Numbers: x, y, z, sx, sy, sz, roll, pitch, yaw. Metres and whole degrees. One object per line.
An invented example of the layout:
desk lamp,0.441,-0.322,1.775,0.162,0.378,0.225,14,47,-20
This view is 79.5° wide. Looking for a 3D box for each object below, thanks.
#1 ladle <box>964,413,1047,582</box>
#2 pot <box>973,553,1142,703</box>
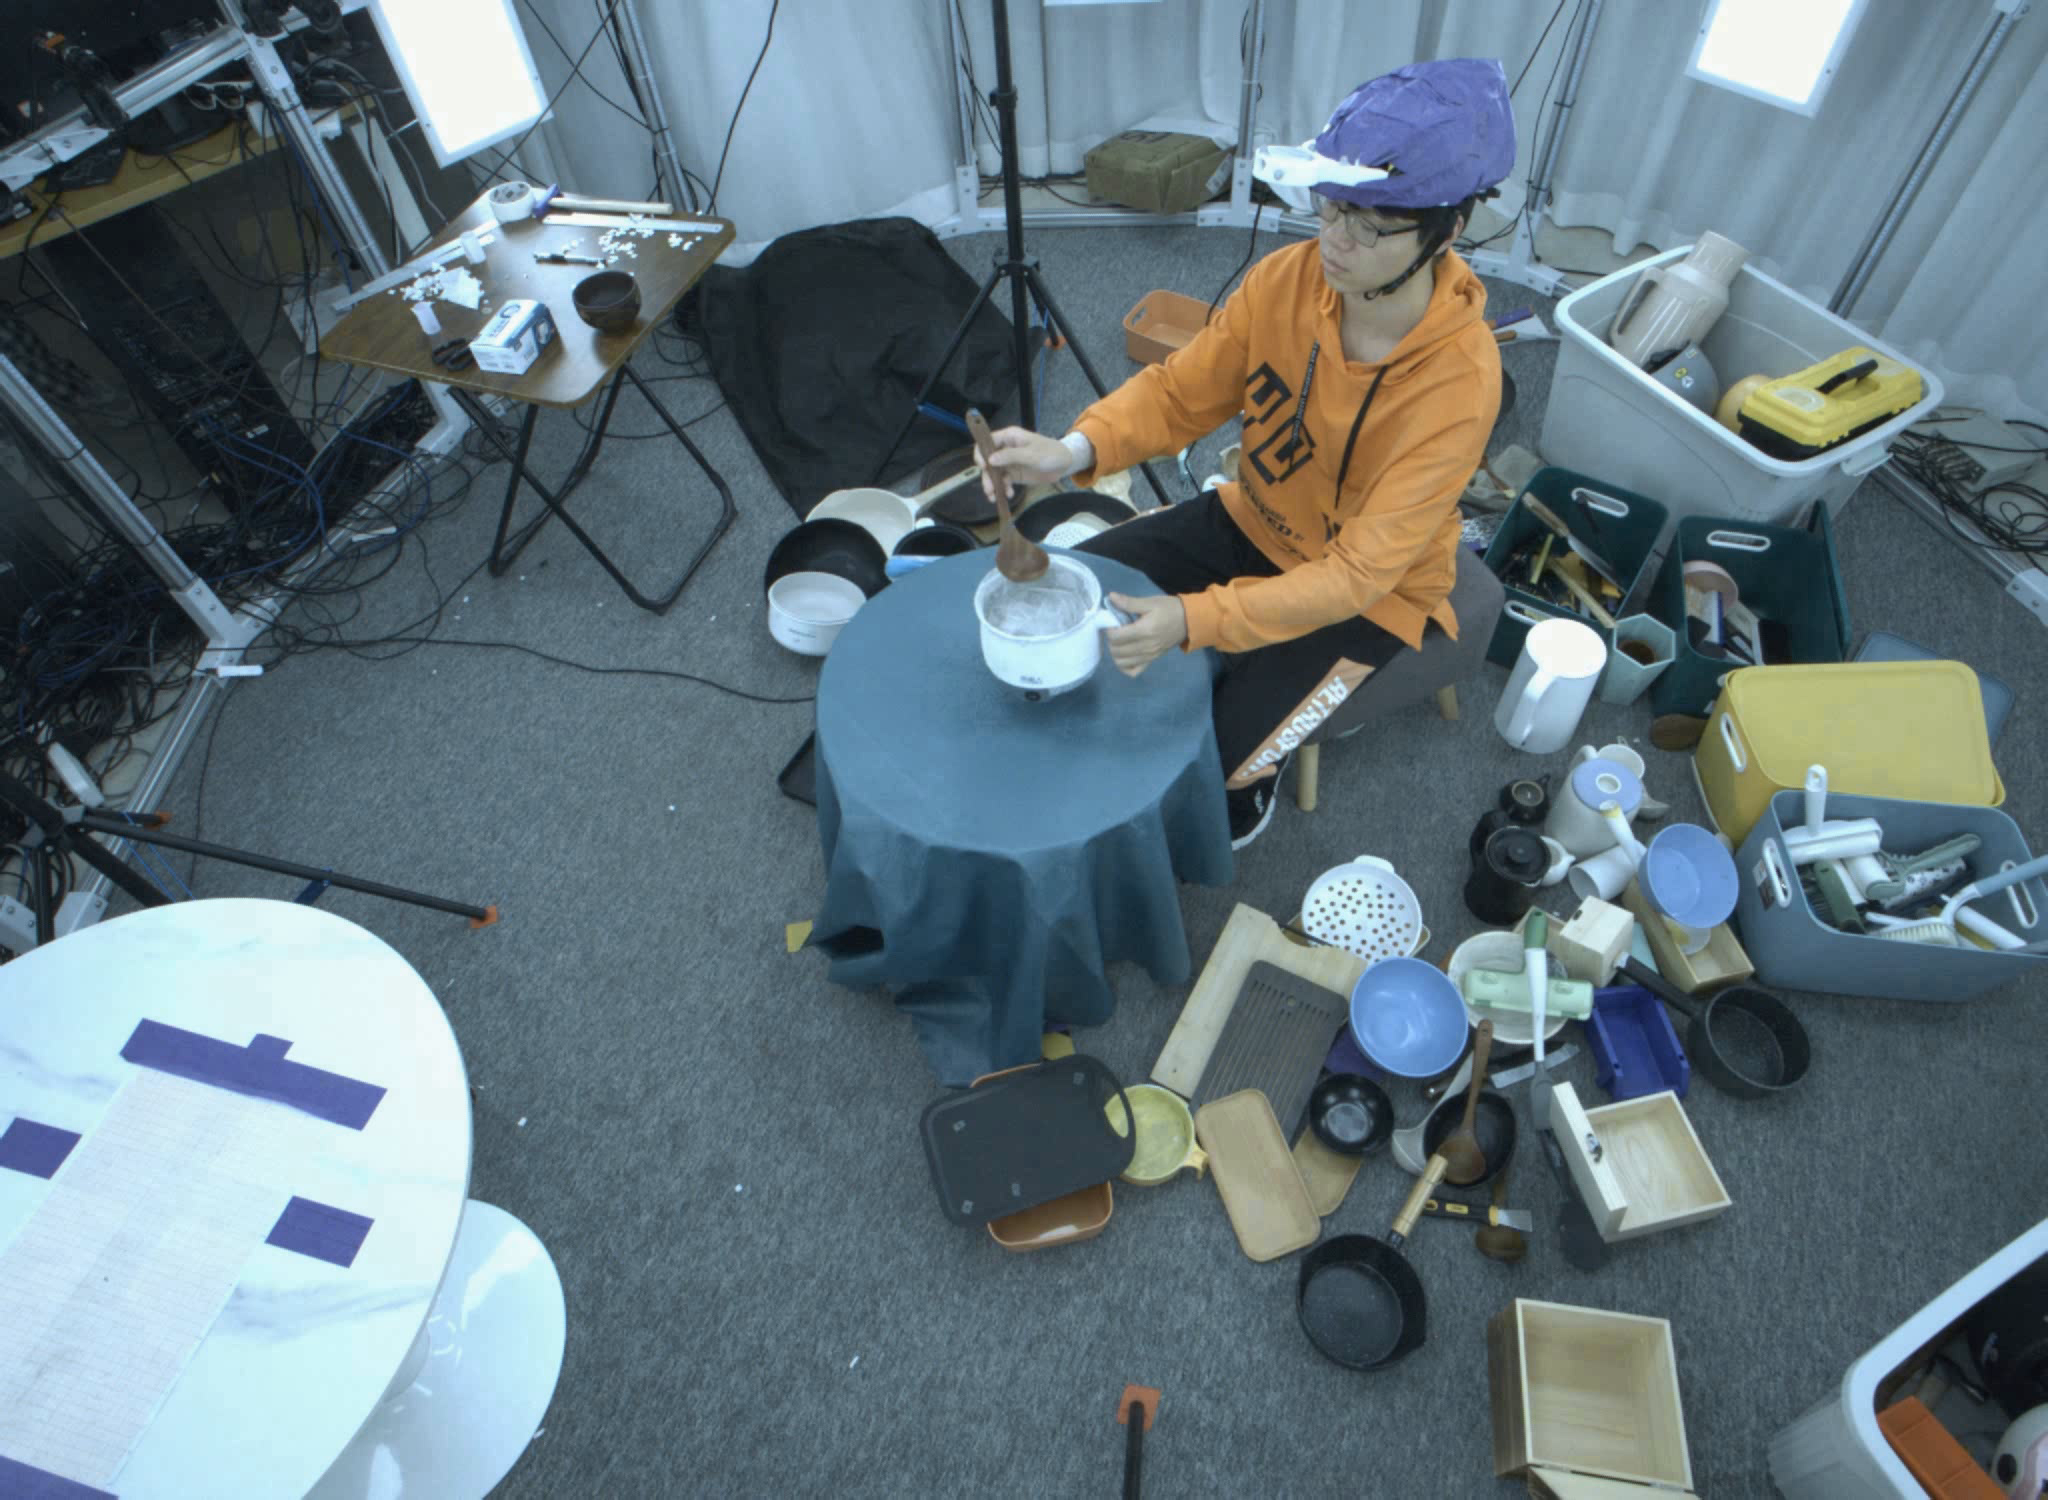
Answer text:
ladle,-0.033,-0.355,1.683,0.078,0.064,0.260,-17,93,-29
pot,0.050,-0.172,1.753,0.232,0.138,0.177,4,53,10
